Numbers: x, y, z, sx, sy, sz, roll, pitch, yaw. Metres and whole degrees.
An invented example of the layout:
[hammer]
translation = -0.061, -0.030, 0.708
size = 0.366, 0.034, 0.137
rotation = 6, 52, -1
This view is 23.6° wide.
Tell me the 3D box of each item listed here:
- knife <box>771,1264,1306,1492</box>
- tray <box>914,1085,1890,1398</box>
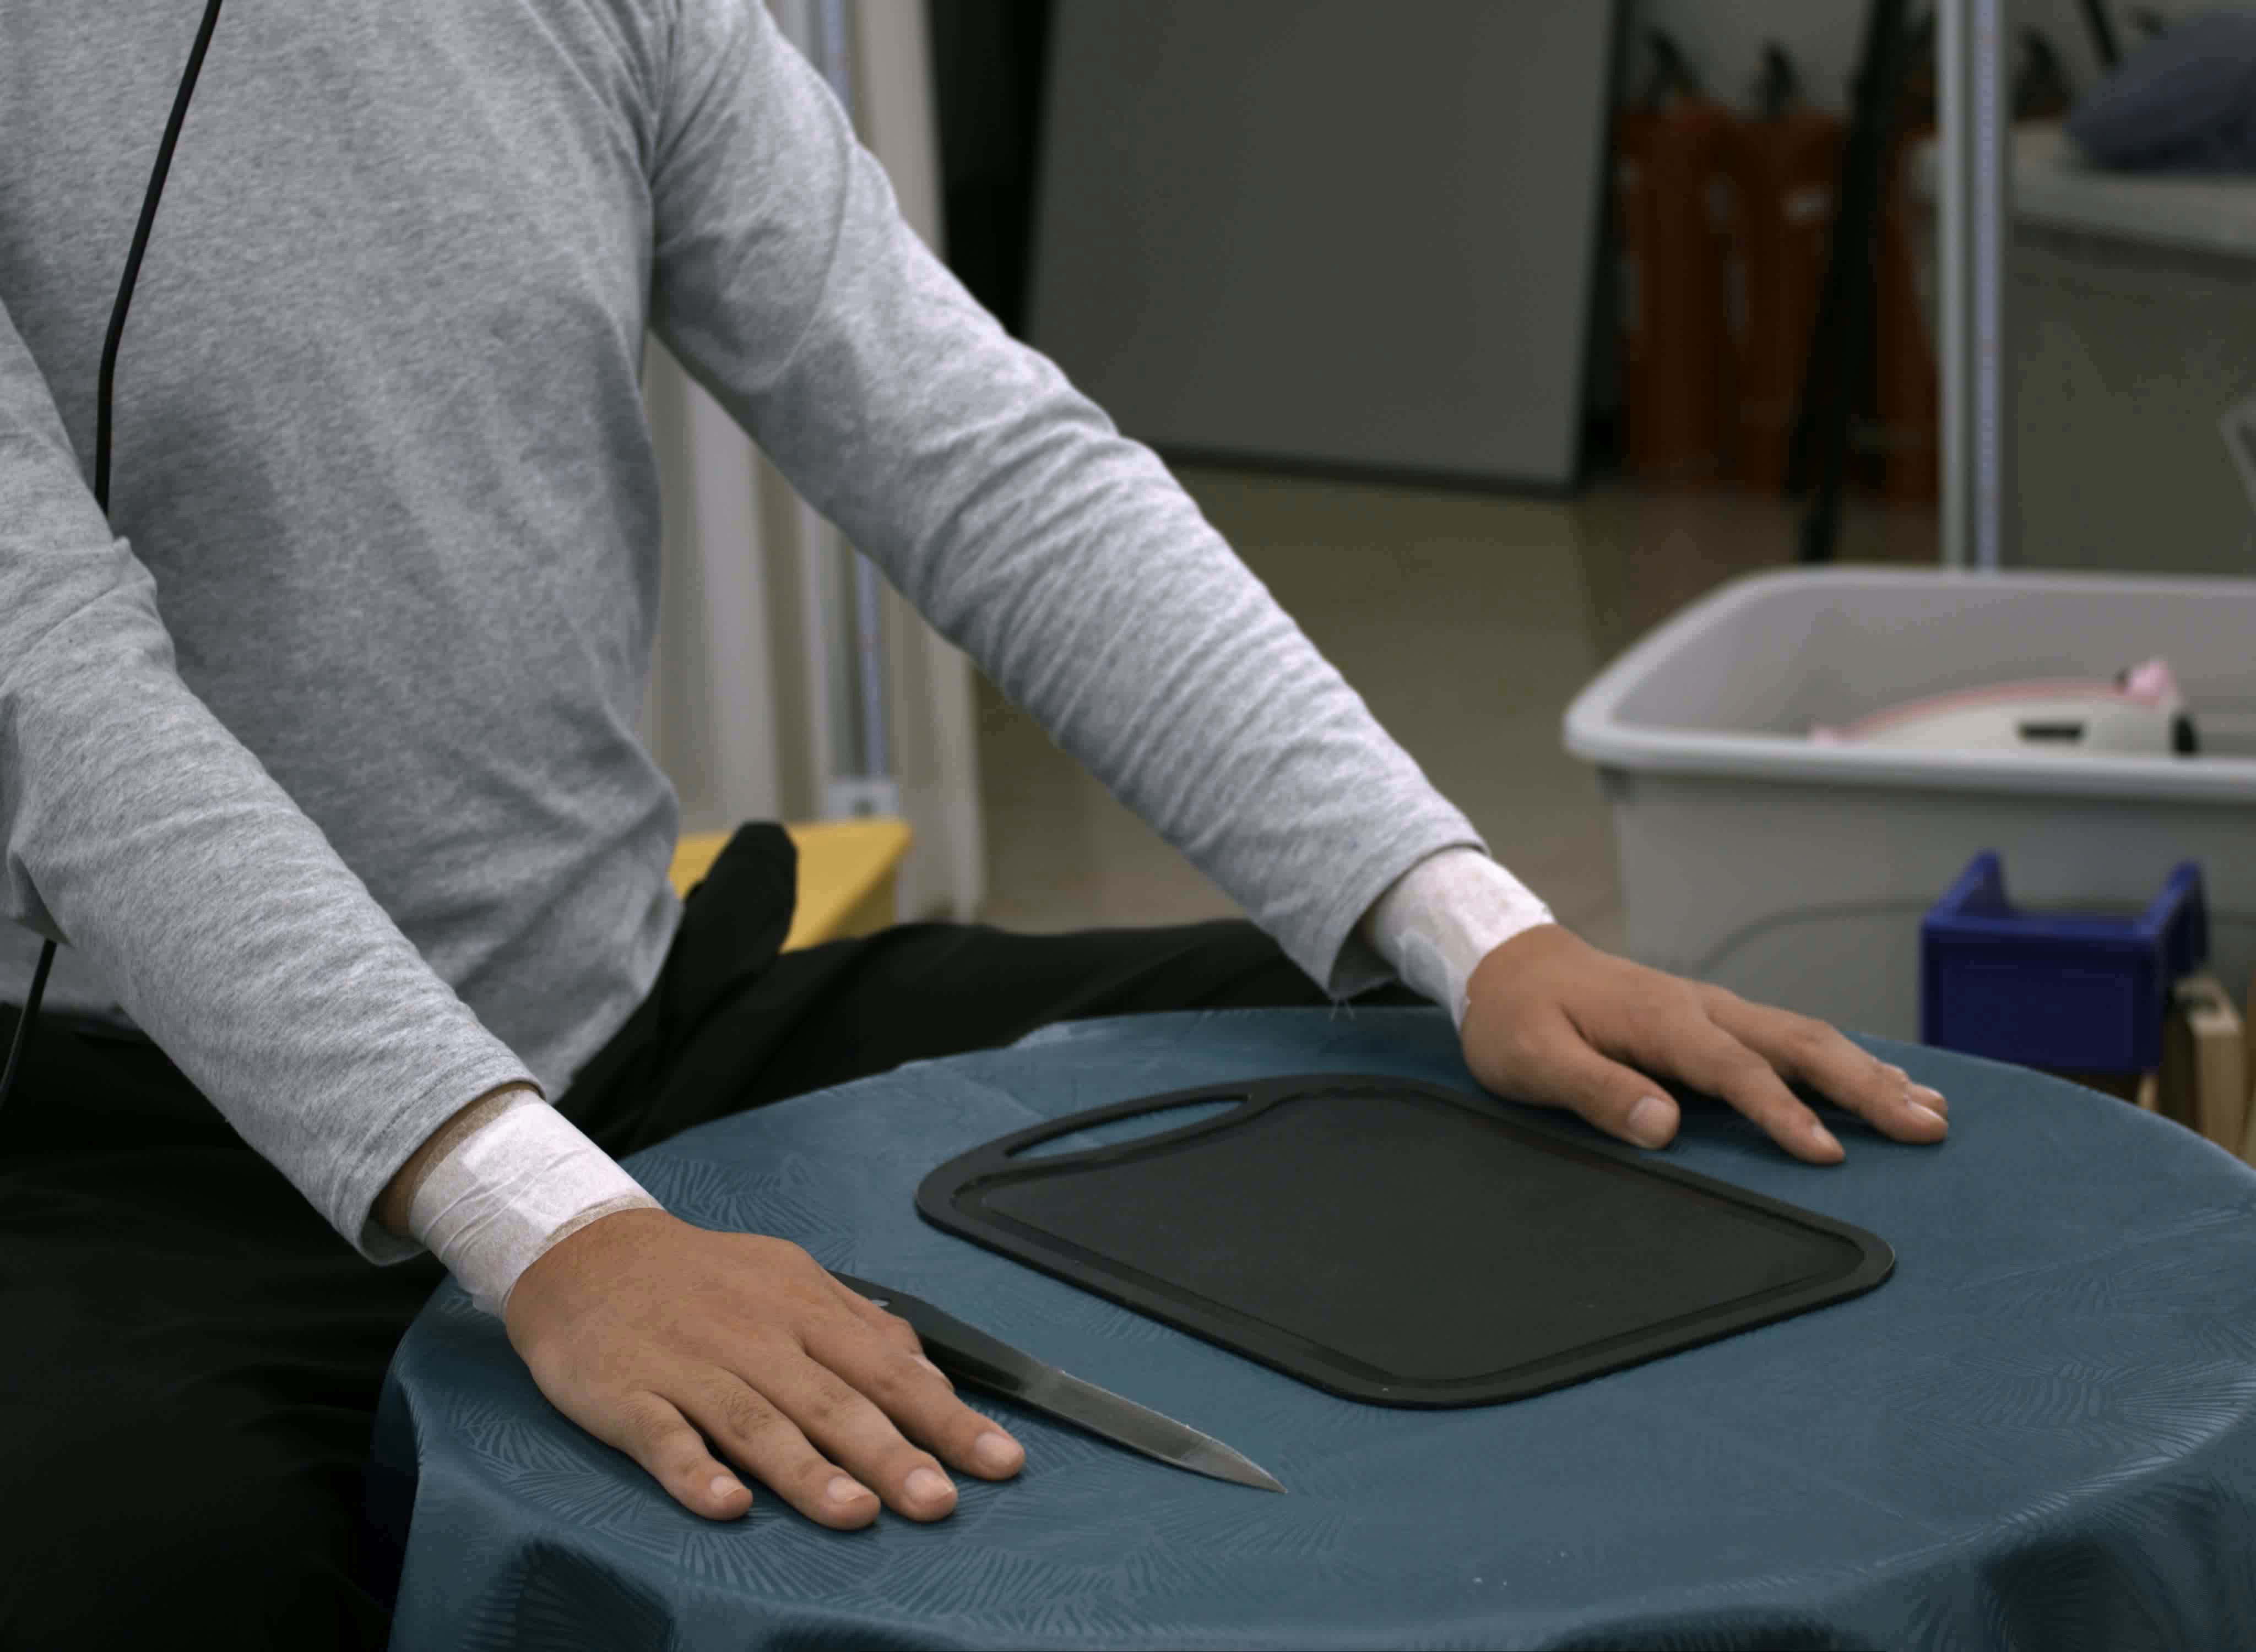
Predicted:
[knife]
translation = -0.031, 0.164, 1.585
size = 0.024, 0.016, 0.240
rotation = -16, 21, -38
[tray]
translation = 0.077, 0.126, 1.721
size = 0.206, 0.010, 0.329
rotation = -12, 15, -31
